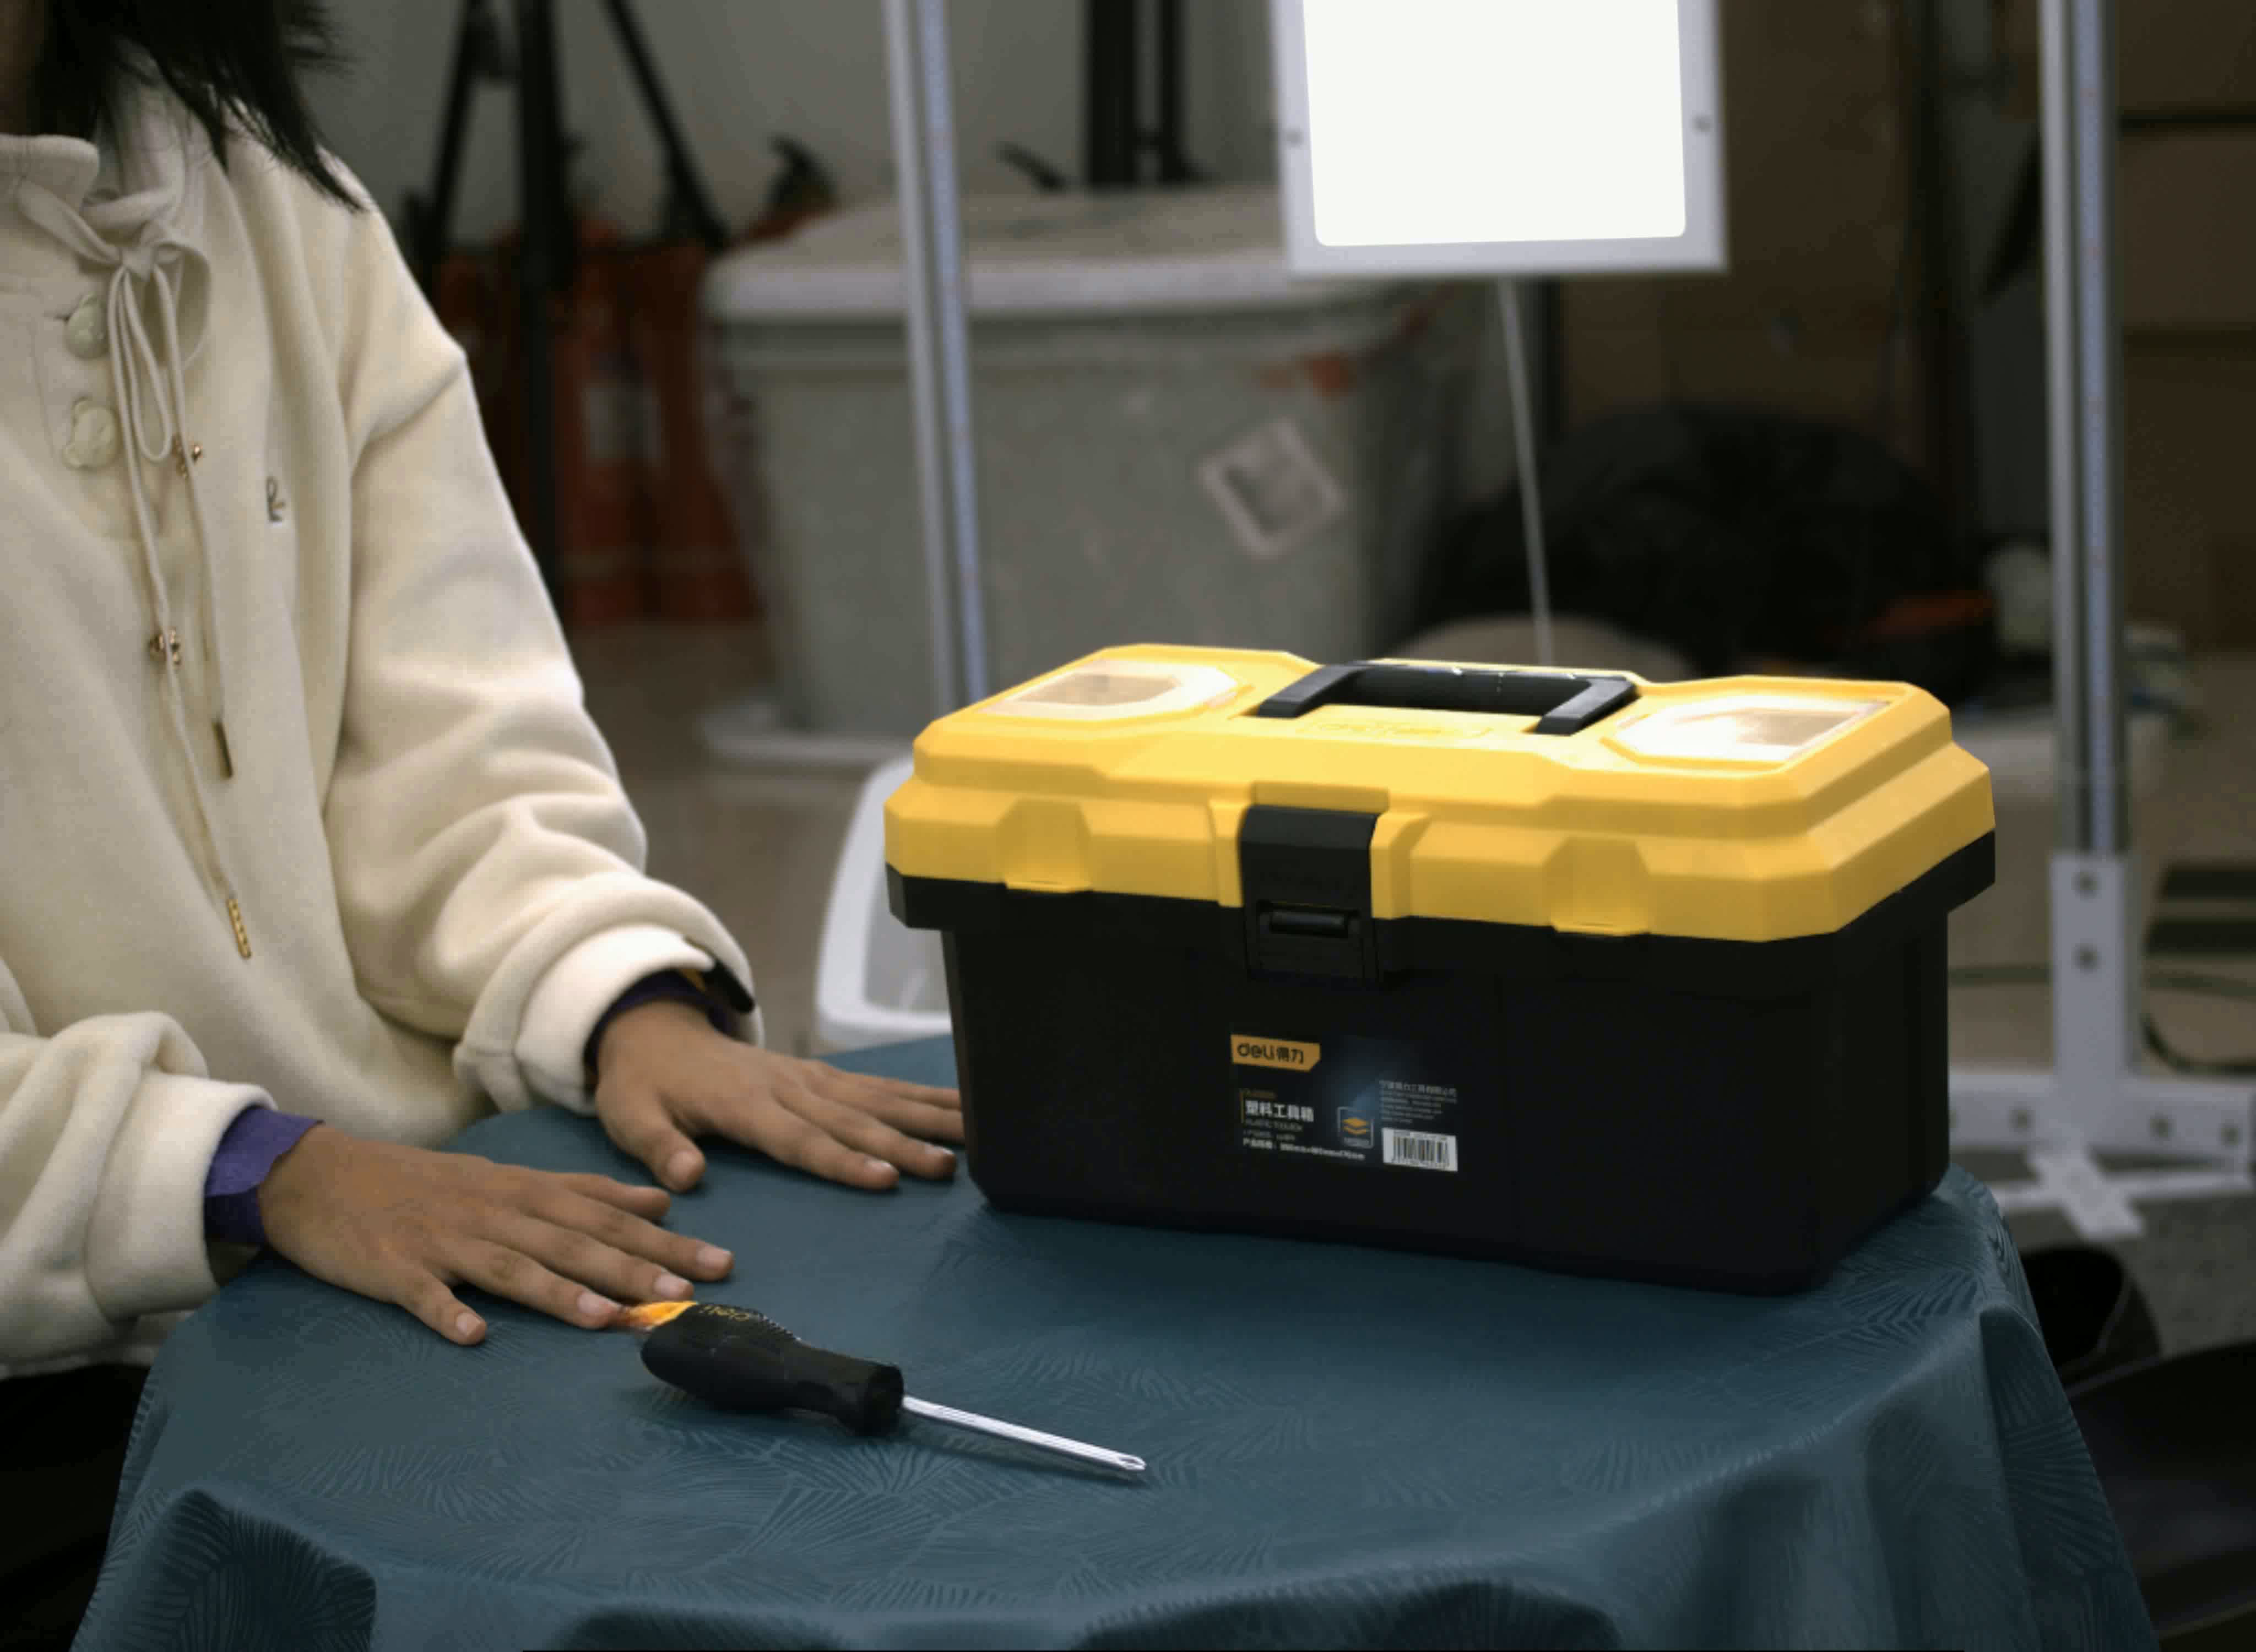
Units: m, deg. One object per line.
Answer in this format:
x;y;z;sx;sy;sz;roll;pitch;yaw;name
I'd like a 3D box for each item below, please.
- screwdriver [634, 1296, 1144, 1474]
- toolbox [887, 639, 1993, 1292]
-0.074;0.171;1.678;0.200;0.031;0.030;8;18;39;screwdriver
0.103;0.042;1.840;0.358;0.173;0.177;4;16;33;toolbox
